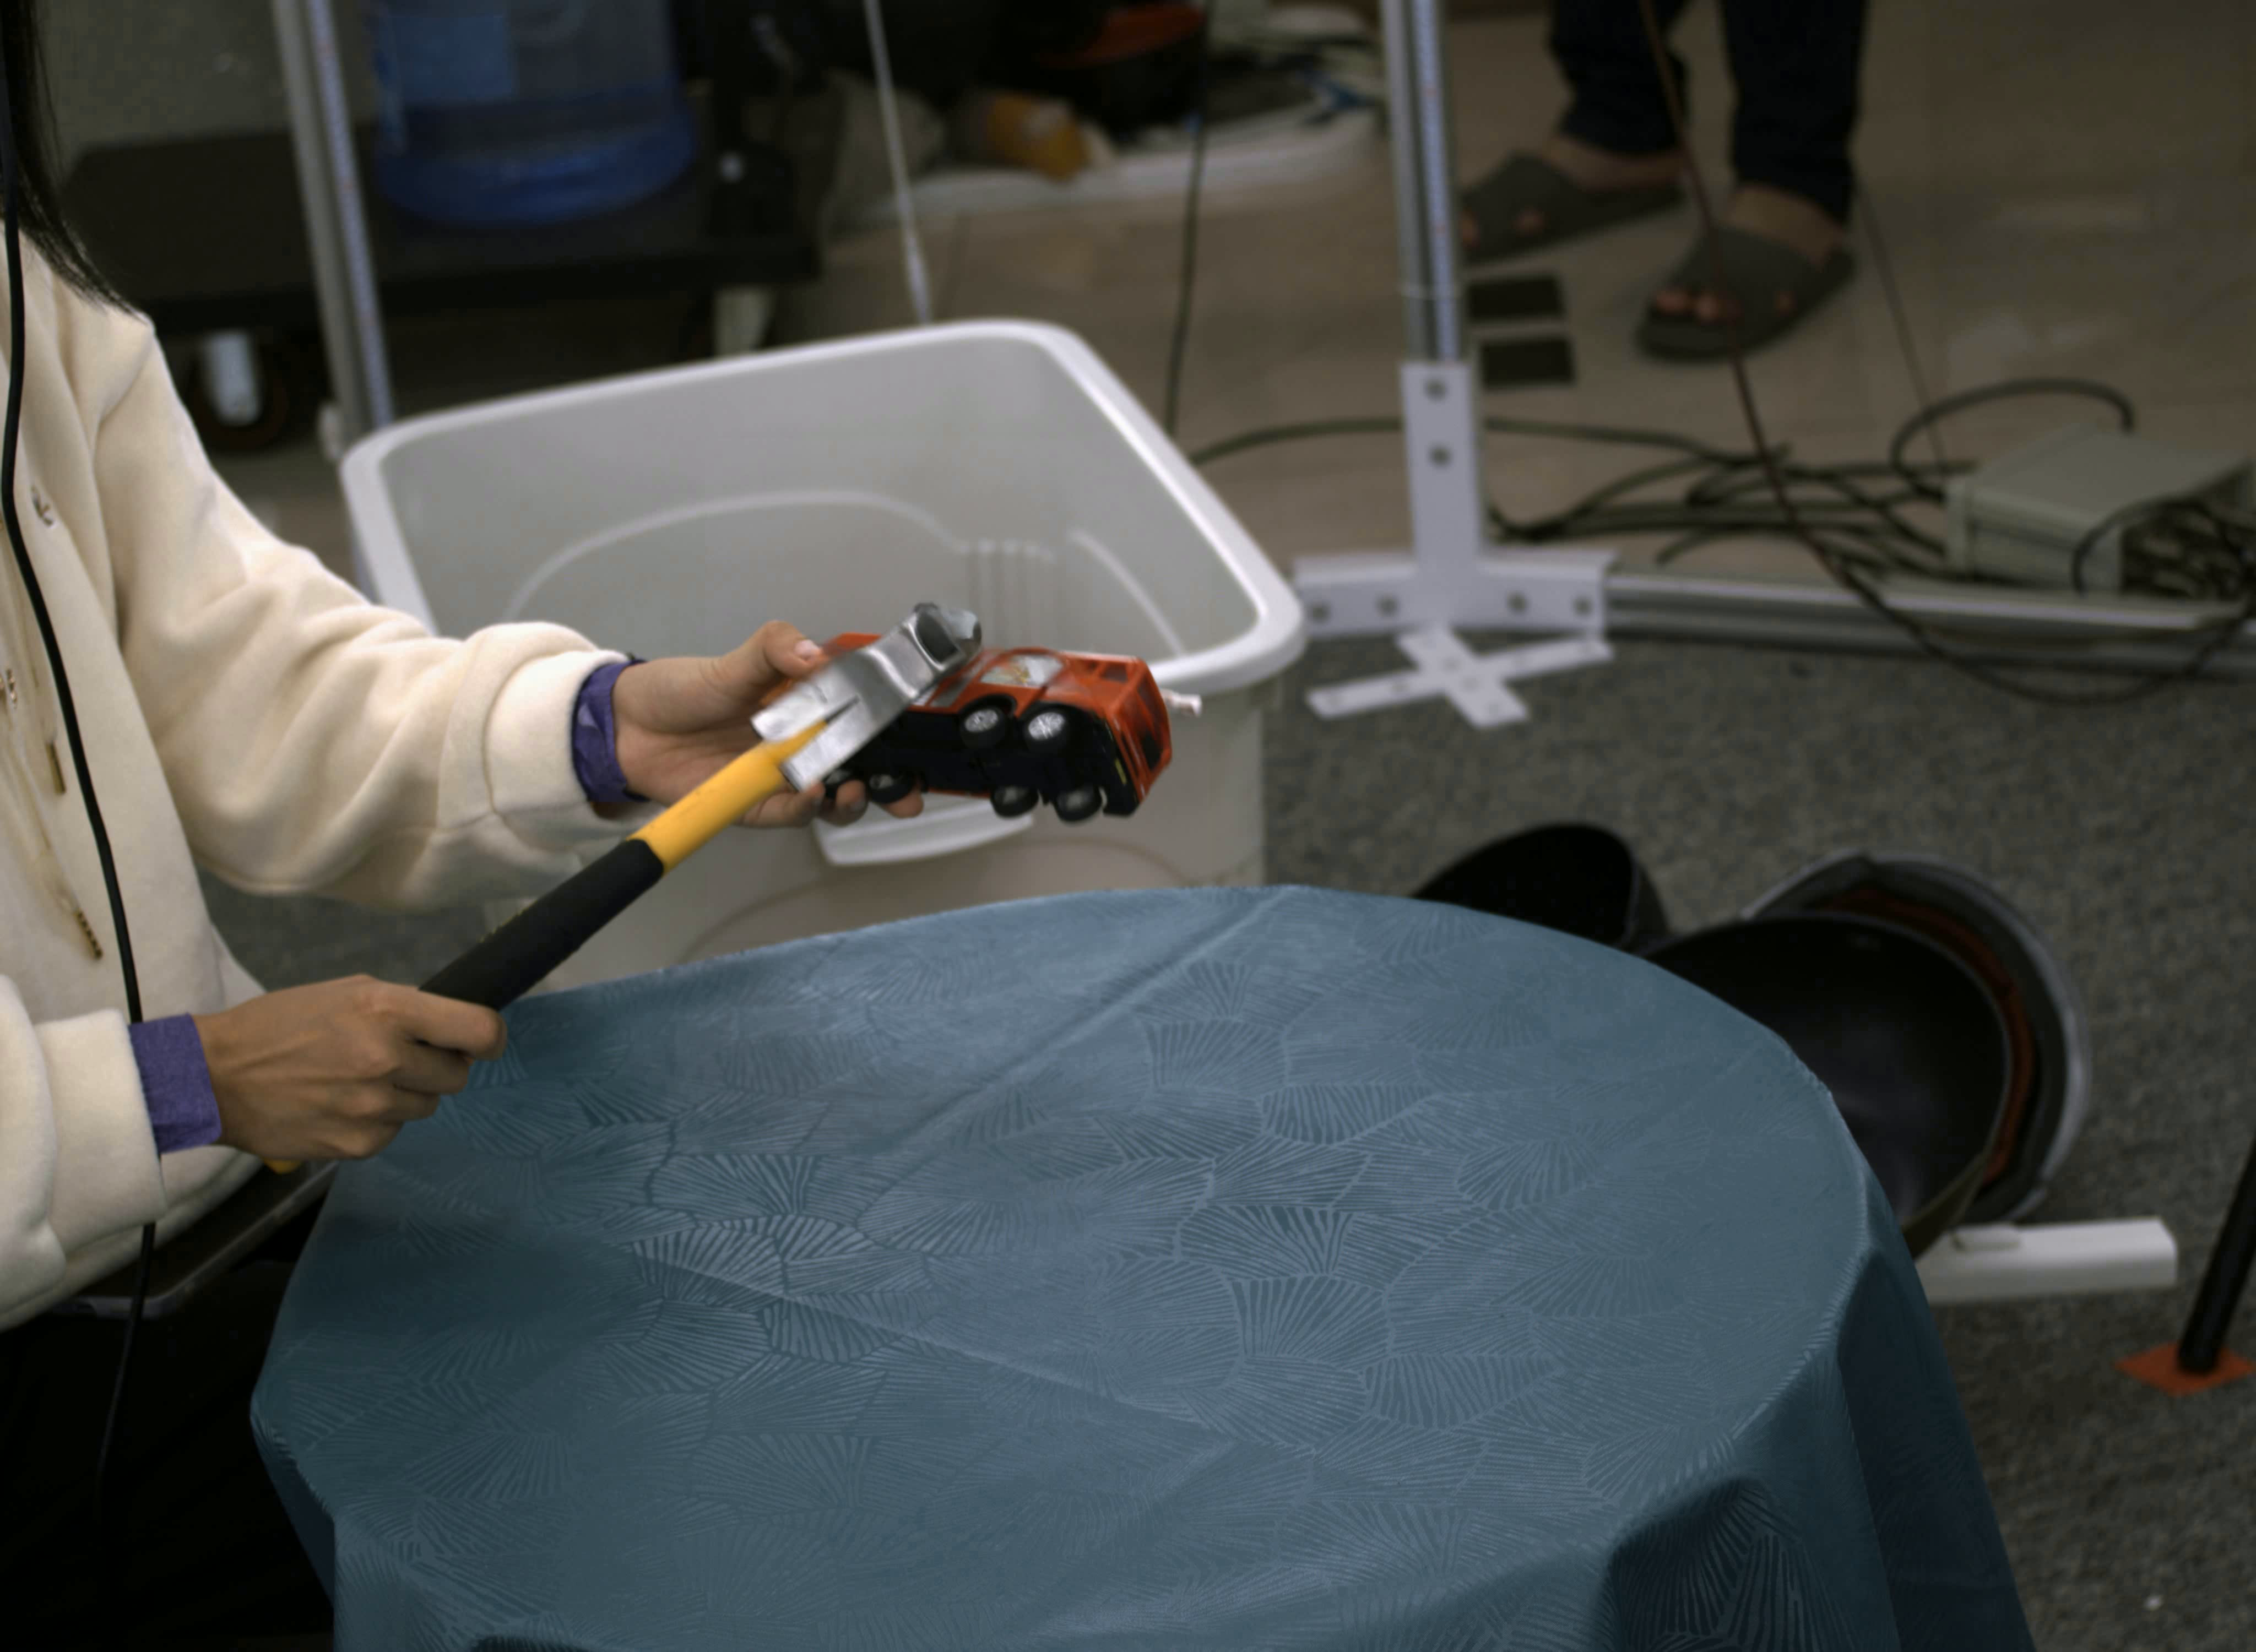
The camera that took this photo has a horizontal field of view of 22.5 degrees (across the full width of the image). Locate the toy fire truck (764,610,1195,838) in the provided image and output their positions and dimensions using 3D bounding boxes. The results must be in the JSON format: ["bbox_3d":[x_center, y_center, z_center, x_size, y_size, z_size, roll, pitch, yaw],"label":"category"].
[{"bbox_3d":[-0.059,-0.040,2.151,0.167,0.055,0.069,6,44,34],"label":"toy fire truck"}]

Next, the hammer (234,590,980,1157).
[{"bbox_3d":[-0.203,0.022,2.124,0.340,0.032,0.130,-35,3,17],"label":"hammer"}]
